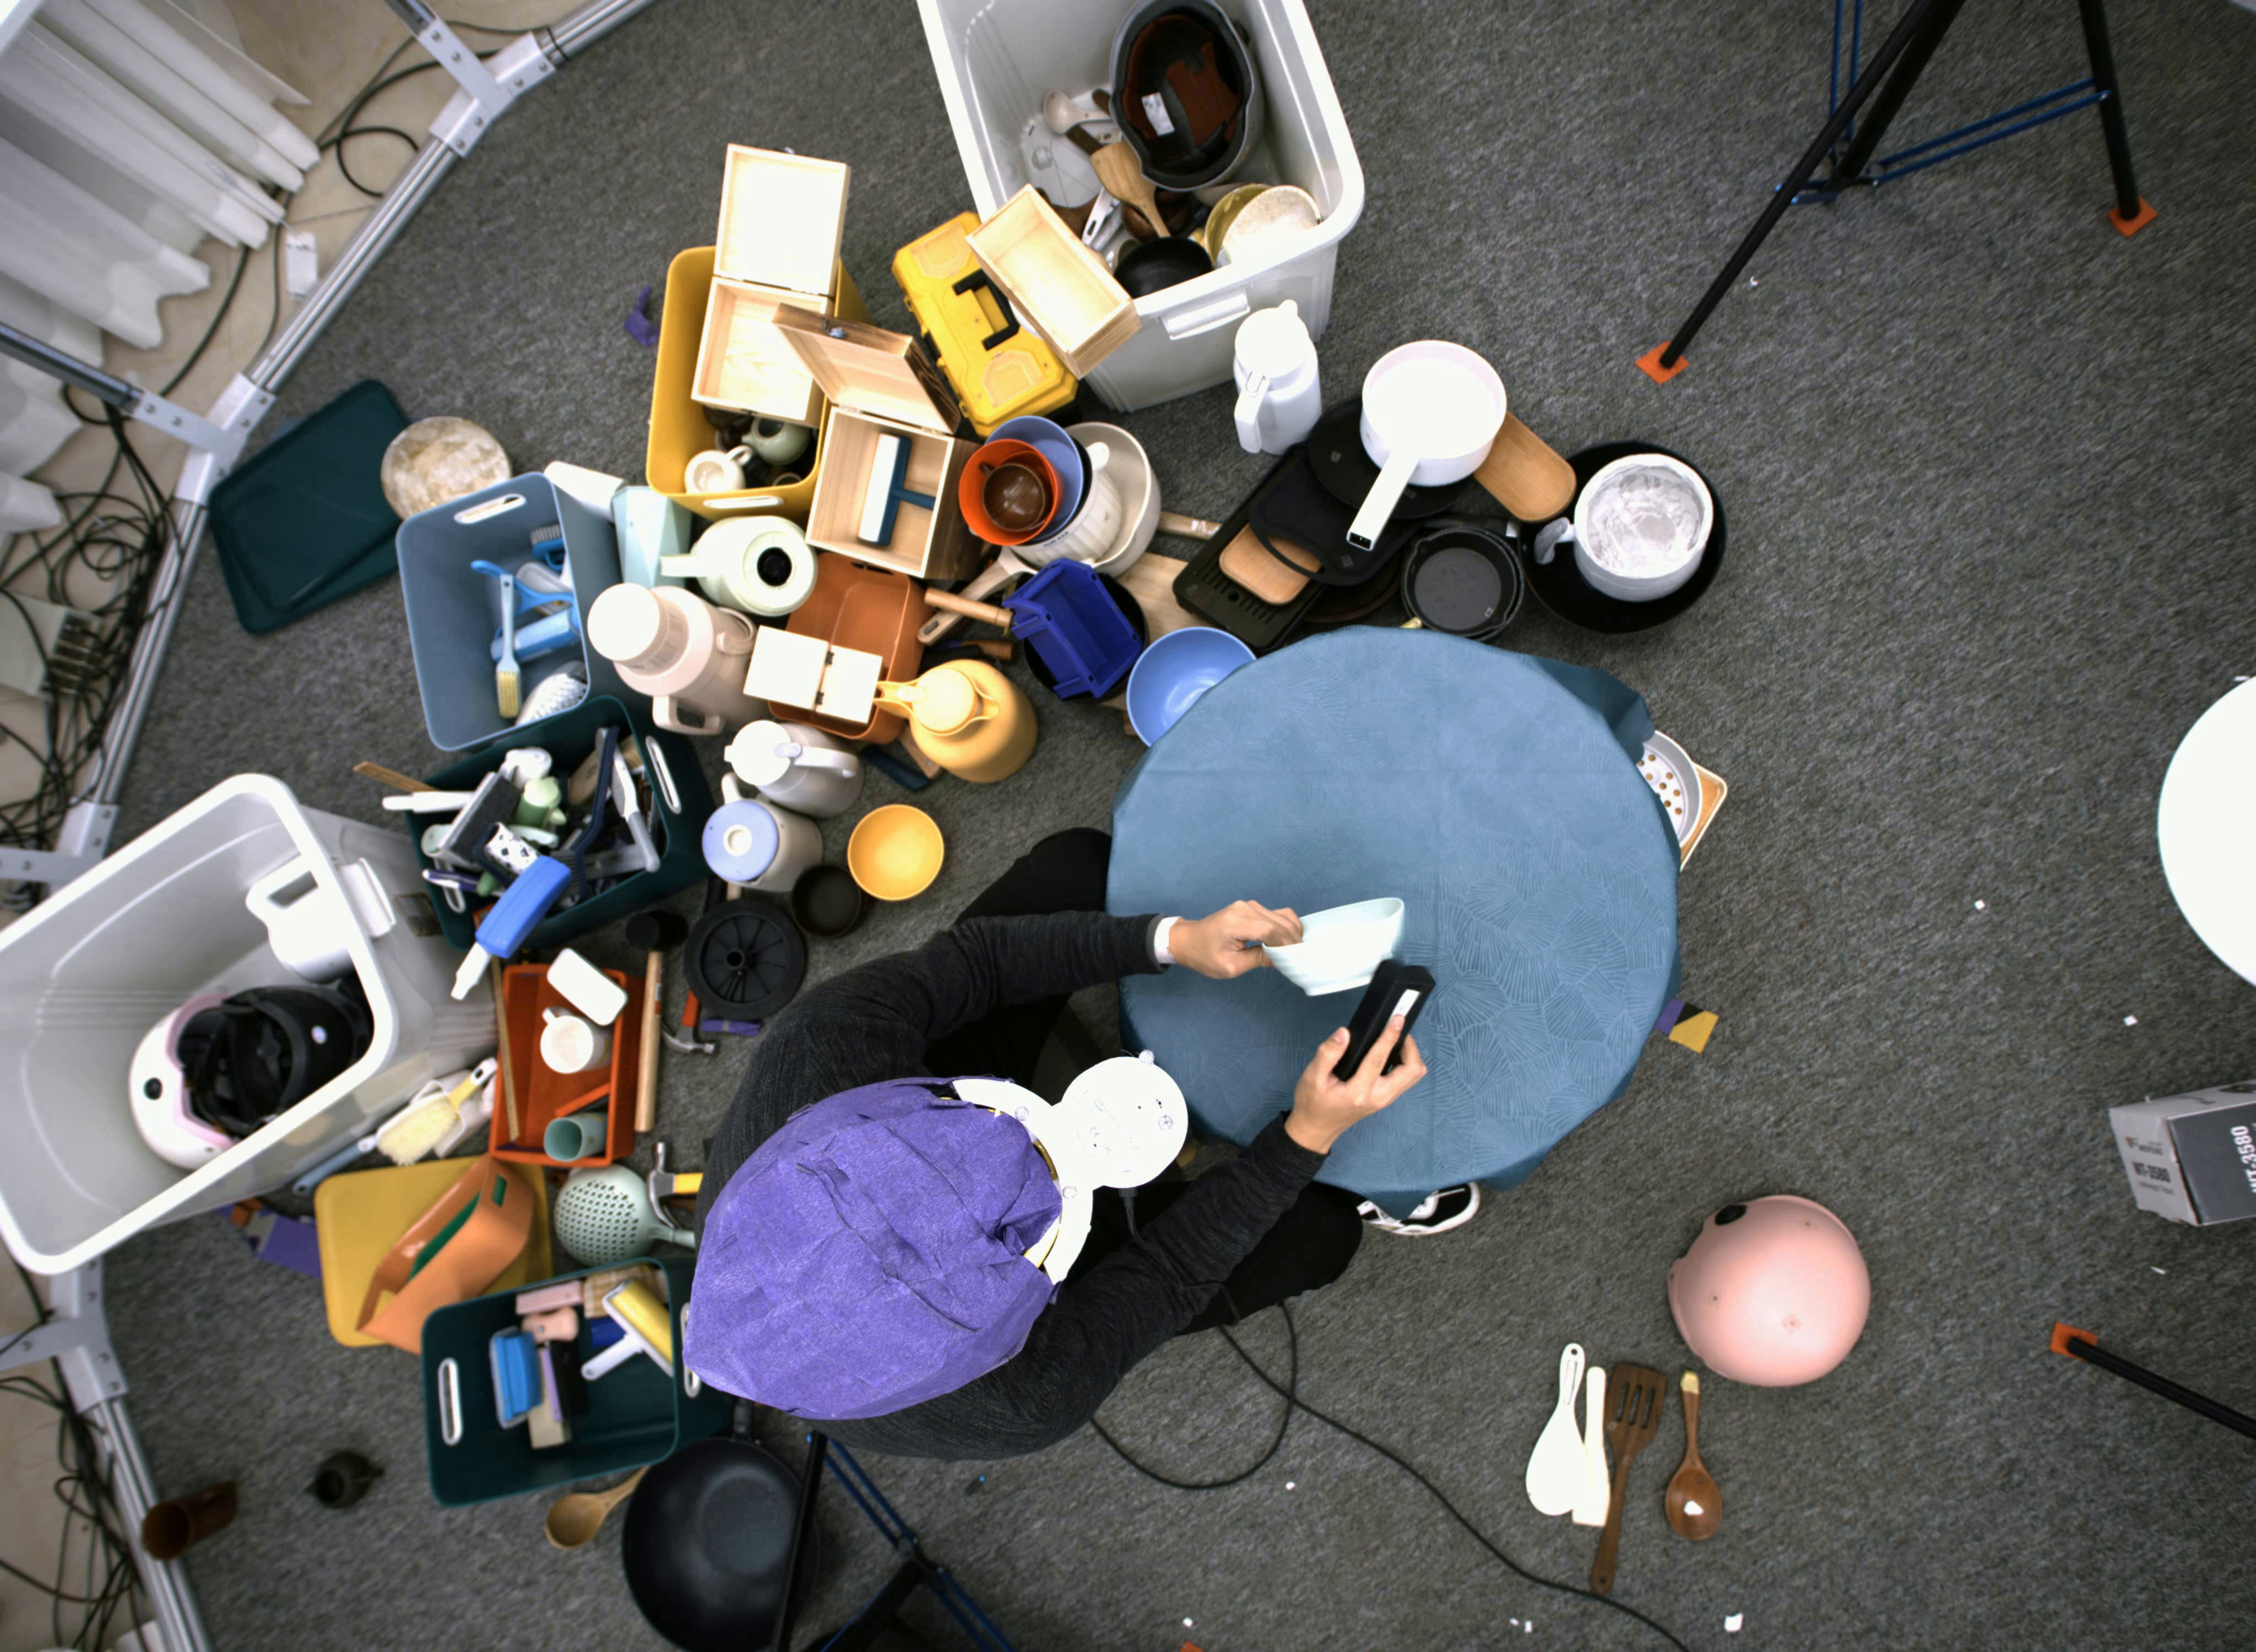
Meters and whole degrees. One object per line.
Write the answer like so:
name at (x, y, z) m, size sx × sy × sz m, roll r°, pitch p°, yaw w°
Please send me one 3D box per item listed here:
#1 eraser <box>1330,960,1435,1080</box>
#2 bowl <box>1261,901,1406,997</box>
eraser at (0.237, 0.181, 1.294) m, size 0.053 × 0.030 × 0.128 m, roll 7°, pitch 122°, yaw -23°
bowl at (0.202, 0.119, 1.321) m, size 0.152 × 0.150 × 0.059 m, roll -14°, pitch 95°, yaw 8°
